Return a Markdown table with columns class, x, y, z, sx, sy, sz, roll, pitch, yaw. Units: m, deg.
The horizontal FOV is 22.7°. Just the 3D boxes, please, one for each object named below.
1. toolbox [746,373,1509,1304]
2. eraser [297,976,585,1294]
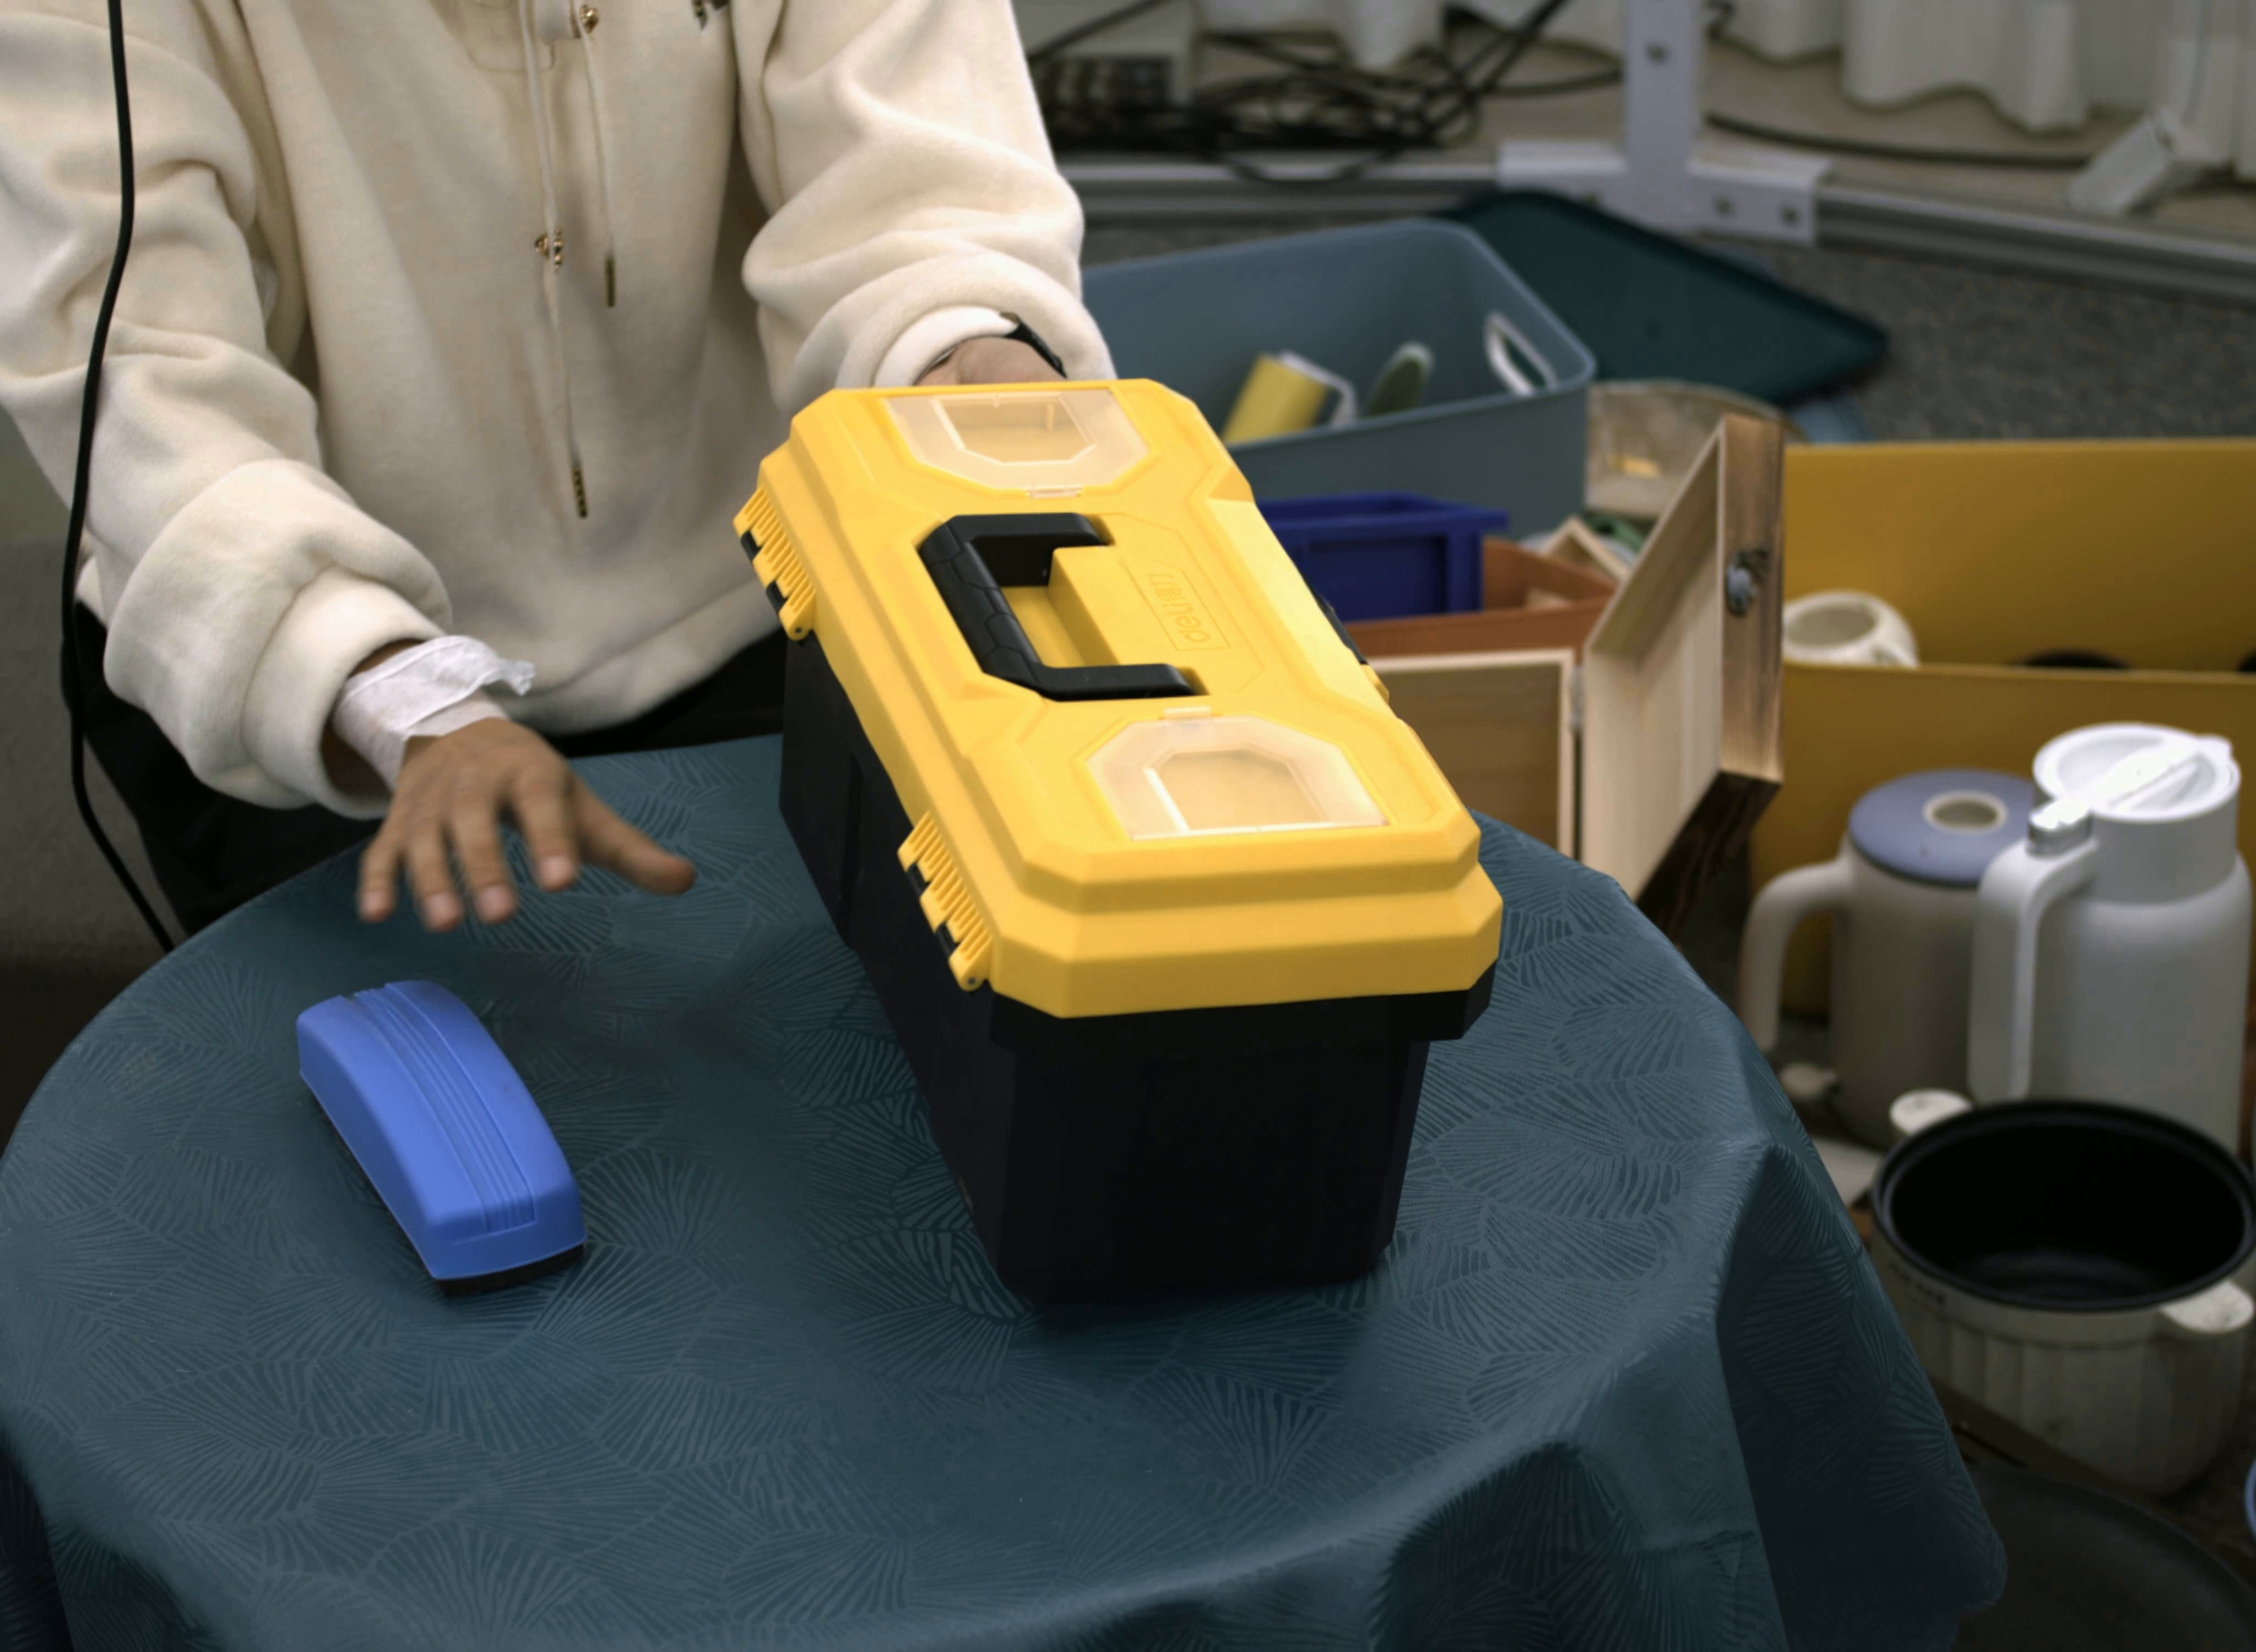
| class | x | y | z | sx | sy | sz | roll | pitch | yaw |
| --- | --- | --- | --- | --- | --- | --- | --- | --- | --- |
| toolbox | -0.011 | -0.003 | 1.877 | 0.181 | 0.170 | 0.356 | -3 | 31 | -17 |
| eraser | -0.232 | 0.097 | 1.880 | 0.054 | 0.047 | 0.163 | -13 | 30 | -21 |
